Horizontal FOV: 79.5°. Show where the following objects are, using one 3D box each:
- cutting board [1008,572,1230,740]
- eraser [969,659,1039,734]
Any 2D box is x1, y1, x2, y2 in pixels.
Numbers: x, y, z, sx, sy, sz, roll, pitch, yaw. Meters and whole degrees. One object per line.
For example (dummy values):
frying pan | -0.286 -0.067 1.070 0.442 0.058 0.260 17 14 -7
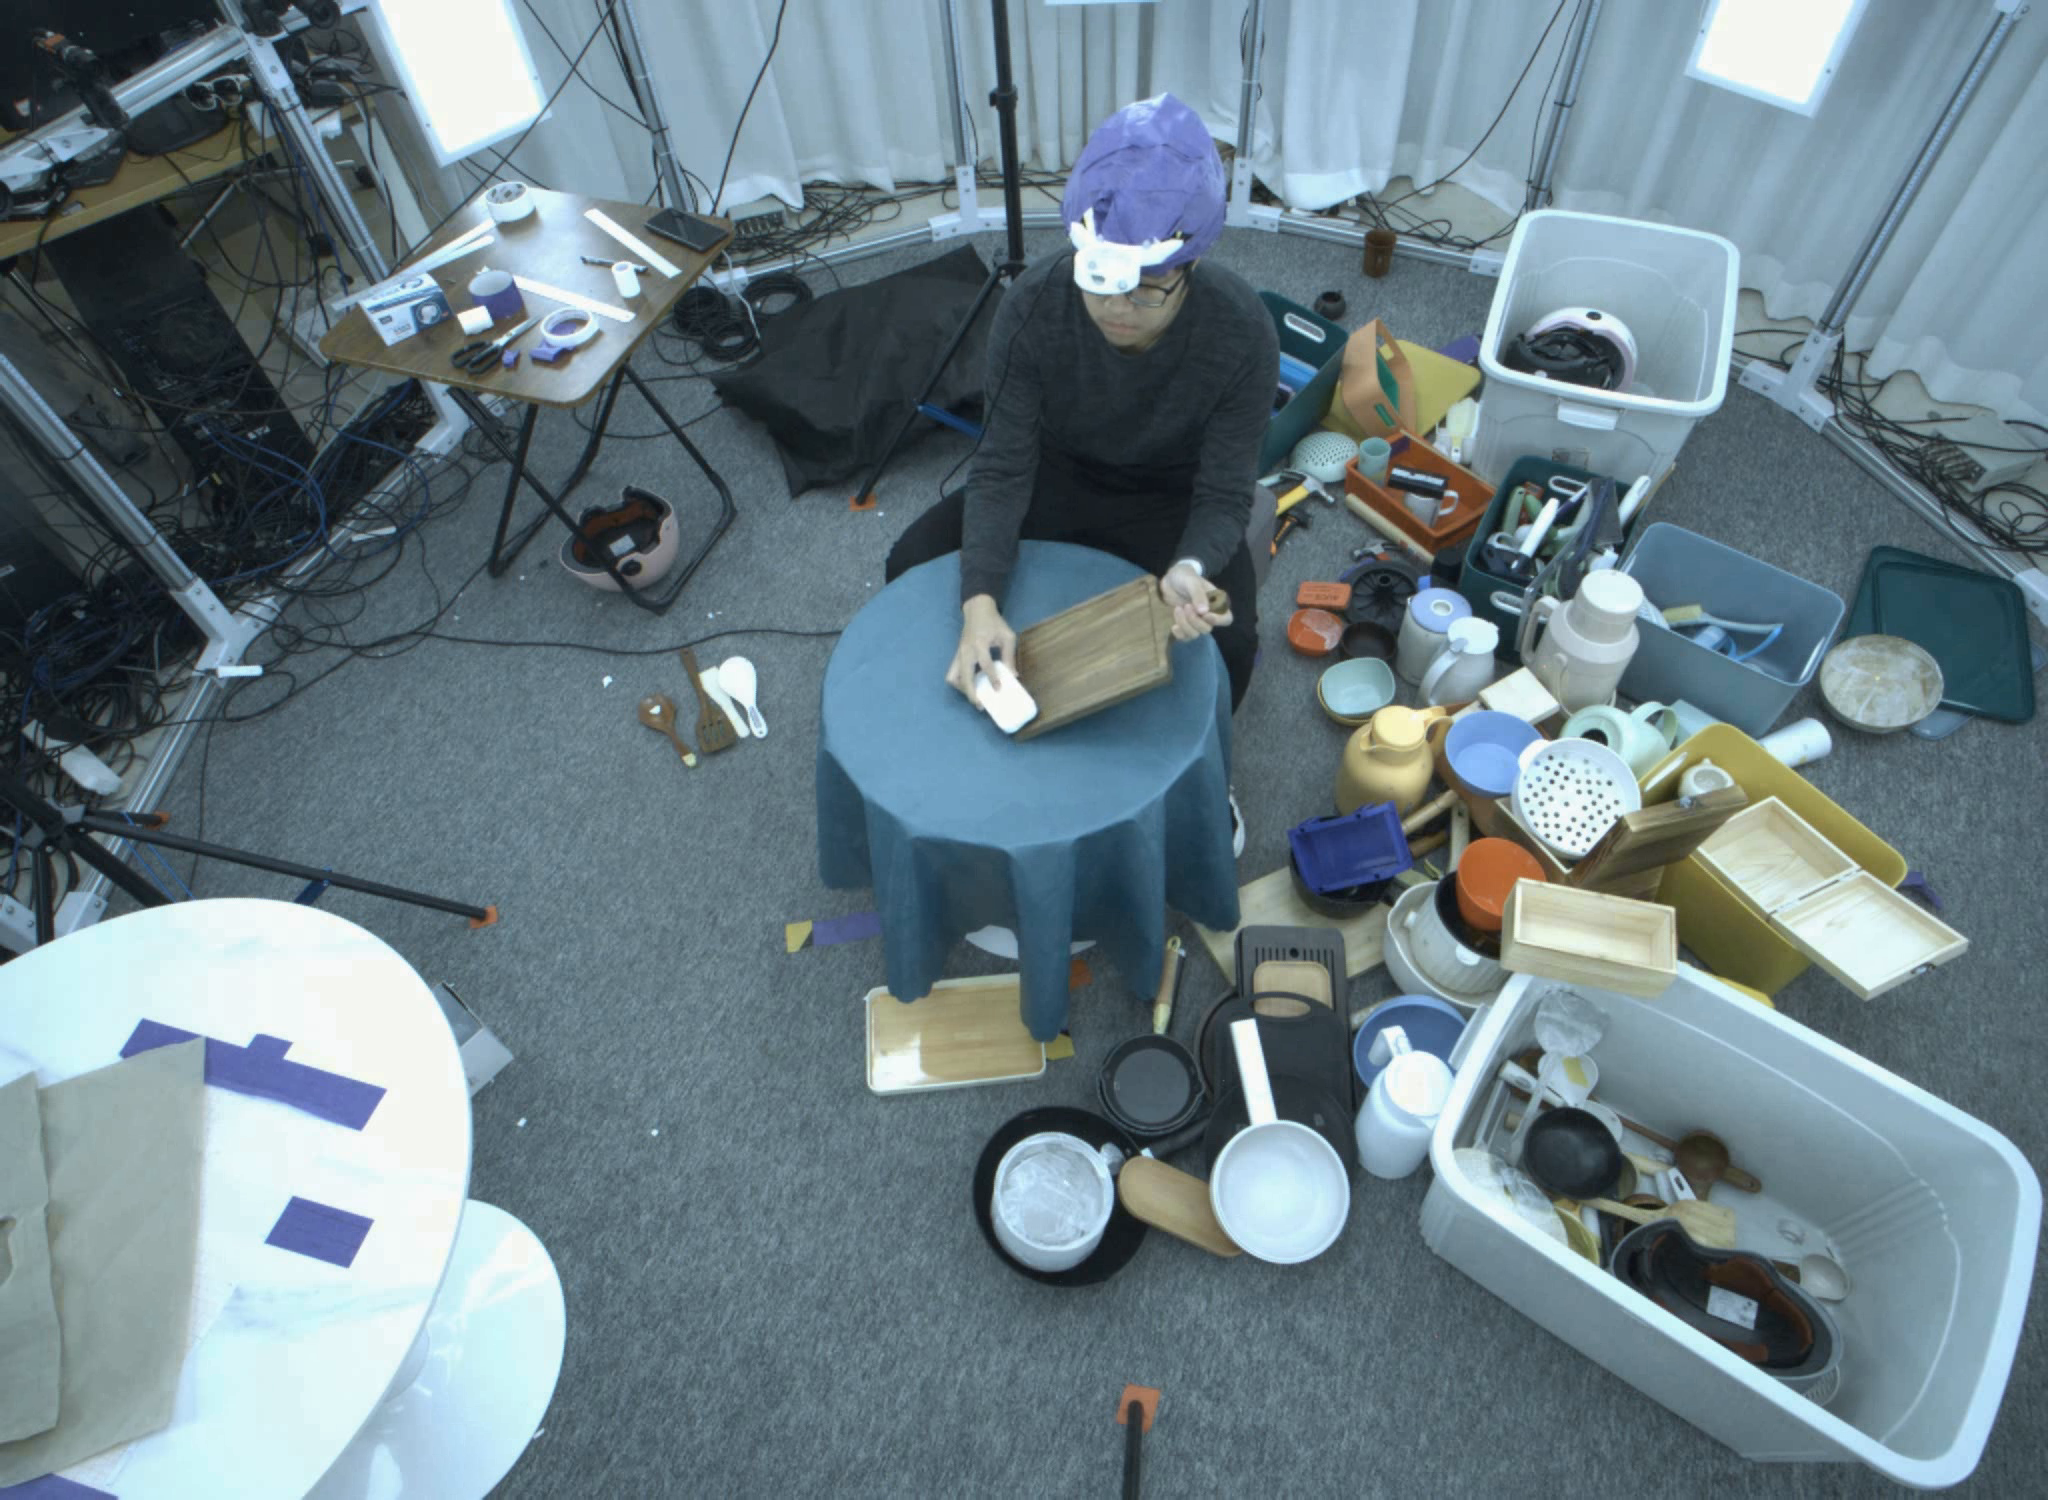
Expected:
cutting board | 0.134 -0.154 1.780 0.348 0.024 0.198 -21 52 22
eraser | -0.029 -0.081 1.809 0.063 0.035 0.128 -36 52 0
